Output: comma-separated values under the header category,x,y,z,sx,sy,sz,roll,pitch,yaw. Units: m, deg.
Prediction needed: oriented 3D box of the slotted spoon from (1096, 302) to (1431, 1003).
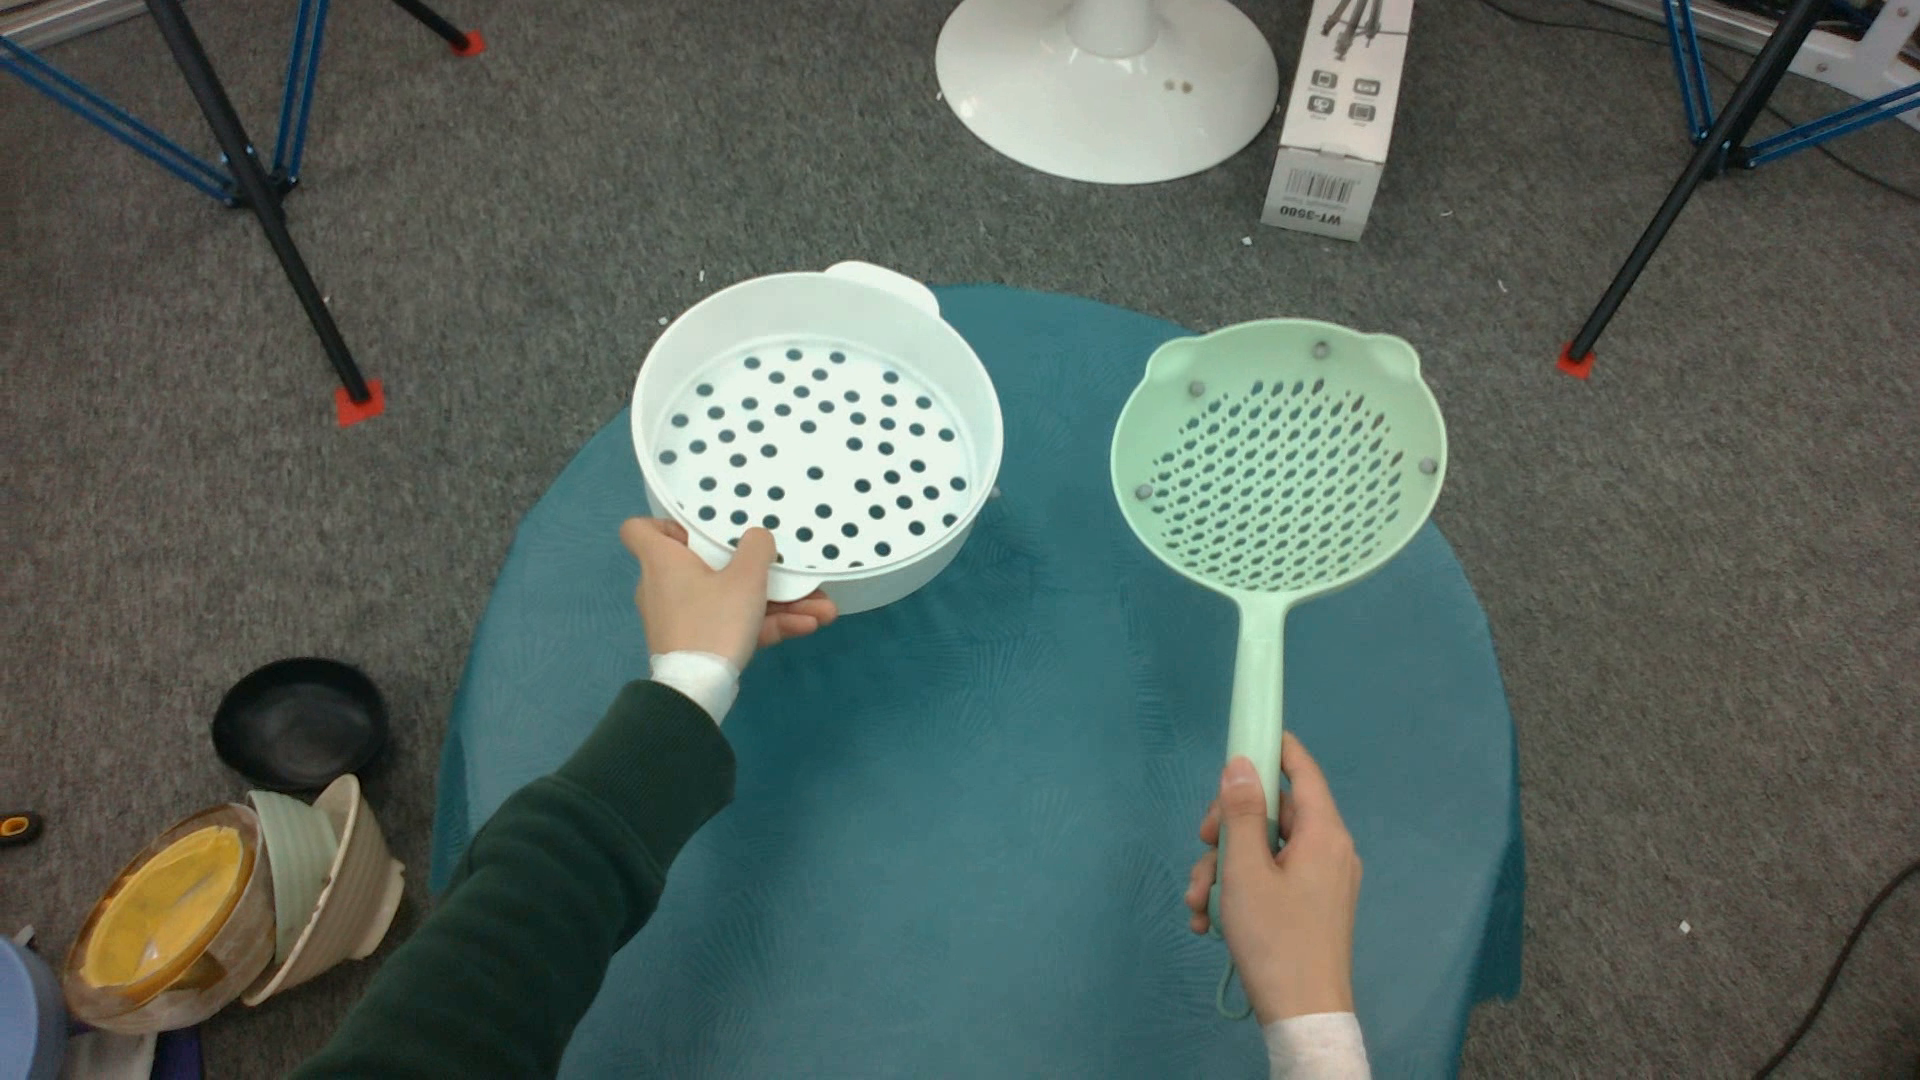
category,x,y,z,sx,sy,sz,roll,pitch,yaw
slotted spoon,0.142,0.037,0.677,0.169,0.075,0.360,2,54,16

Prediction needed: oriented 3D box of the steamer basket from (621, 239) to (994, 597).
category,x,y,z,sx,sy,sz,roll,pitch,yaw
steamer basket,-0.085,-0.064,0.773,0.202,0.069,0.231,19,60,0
